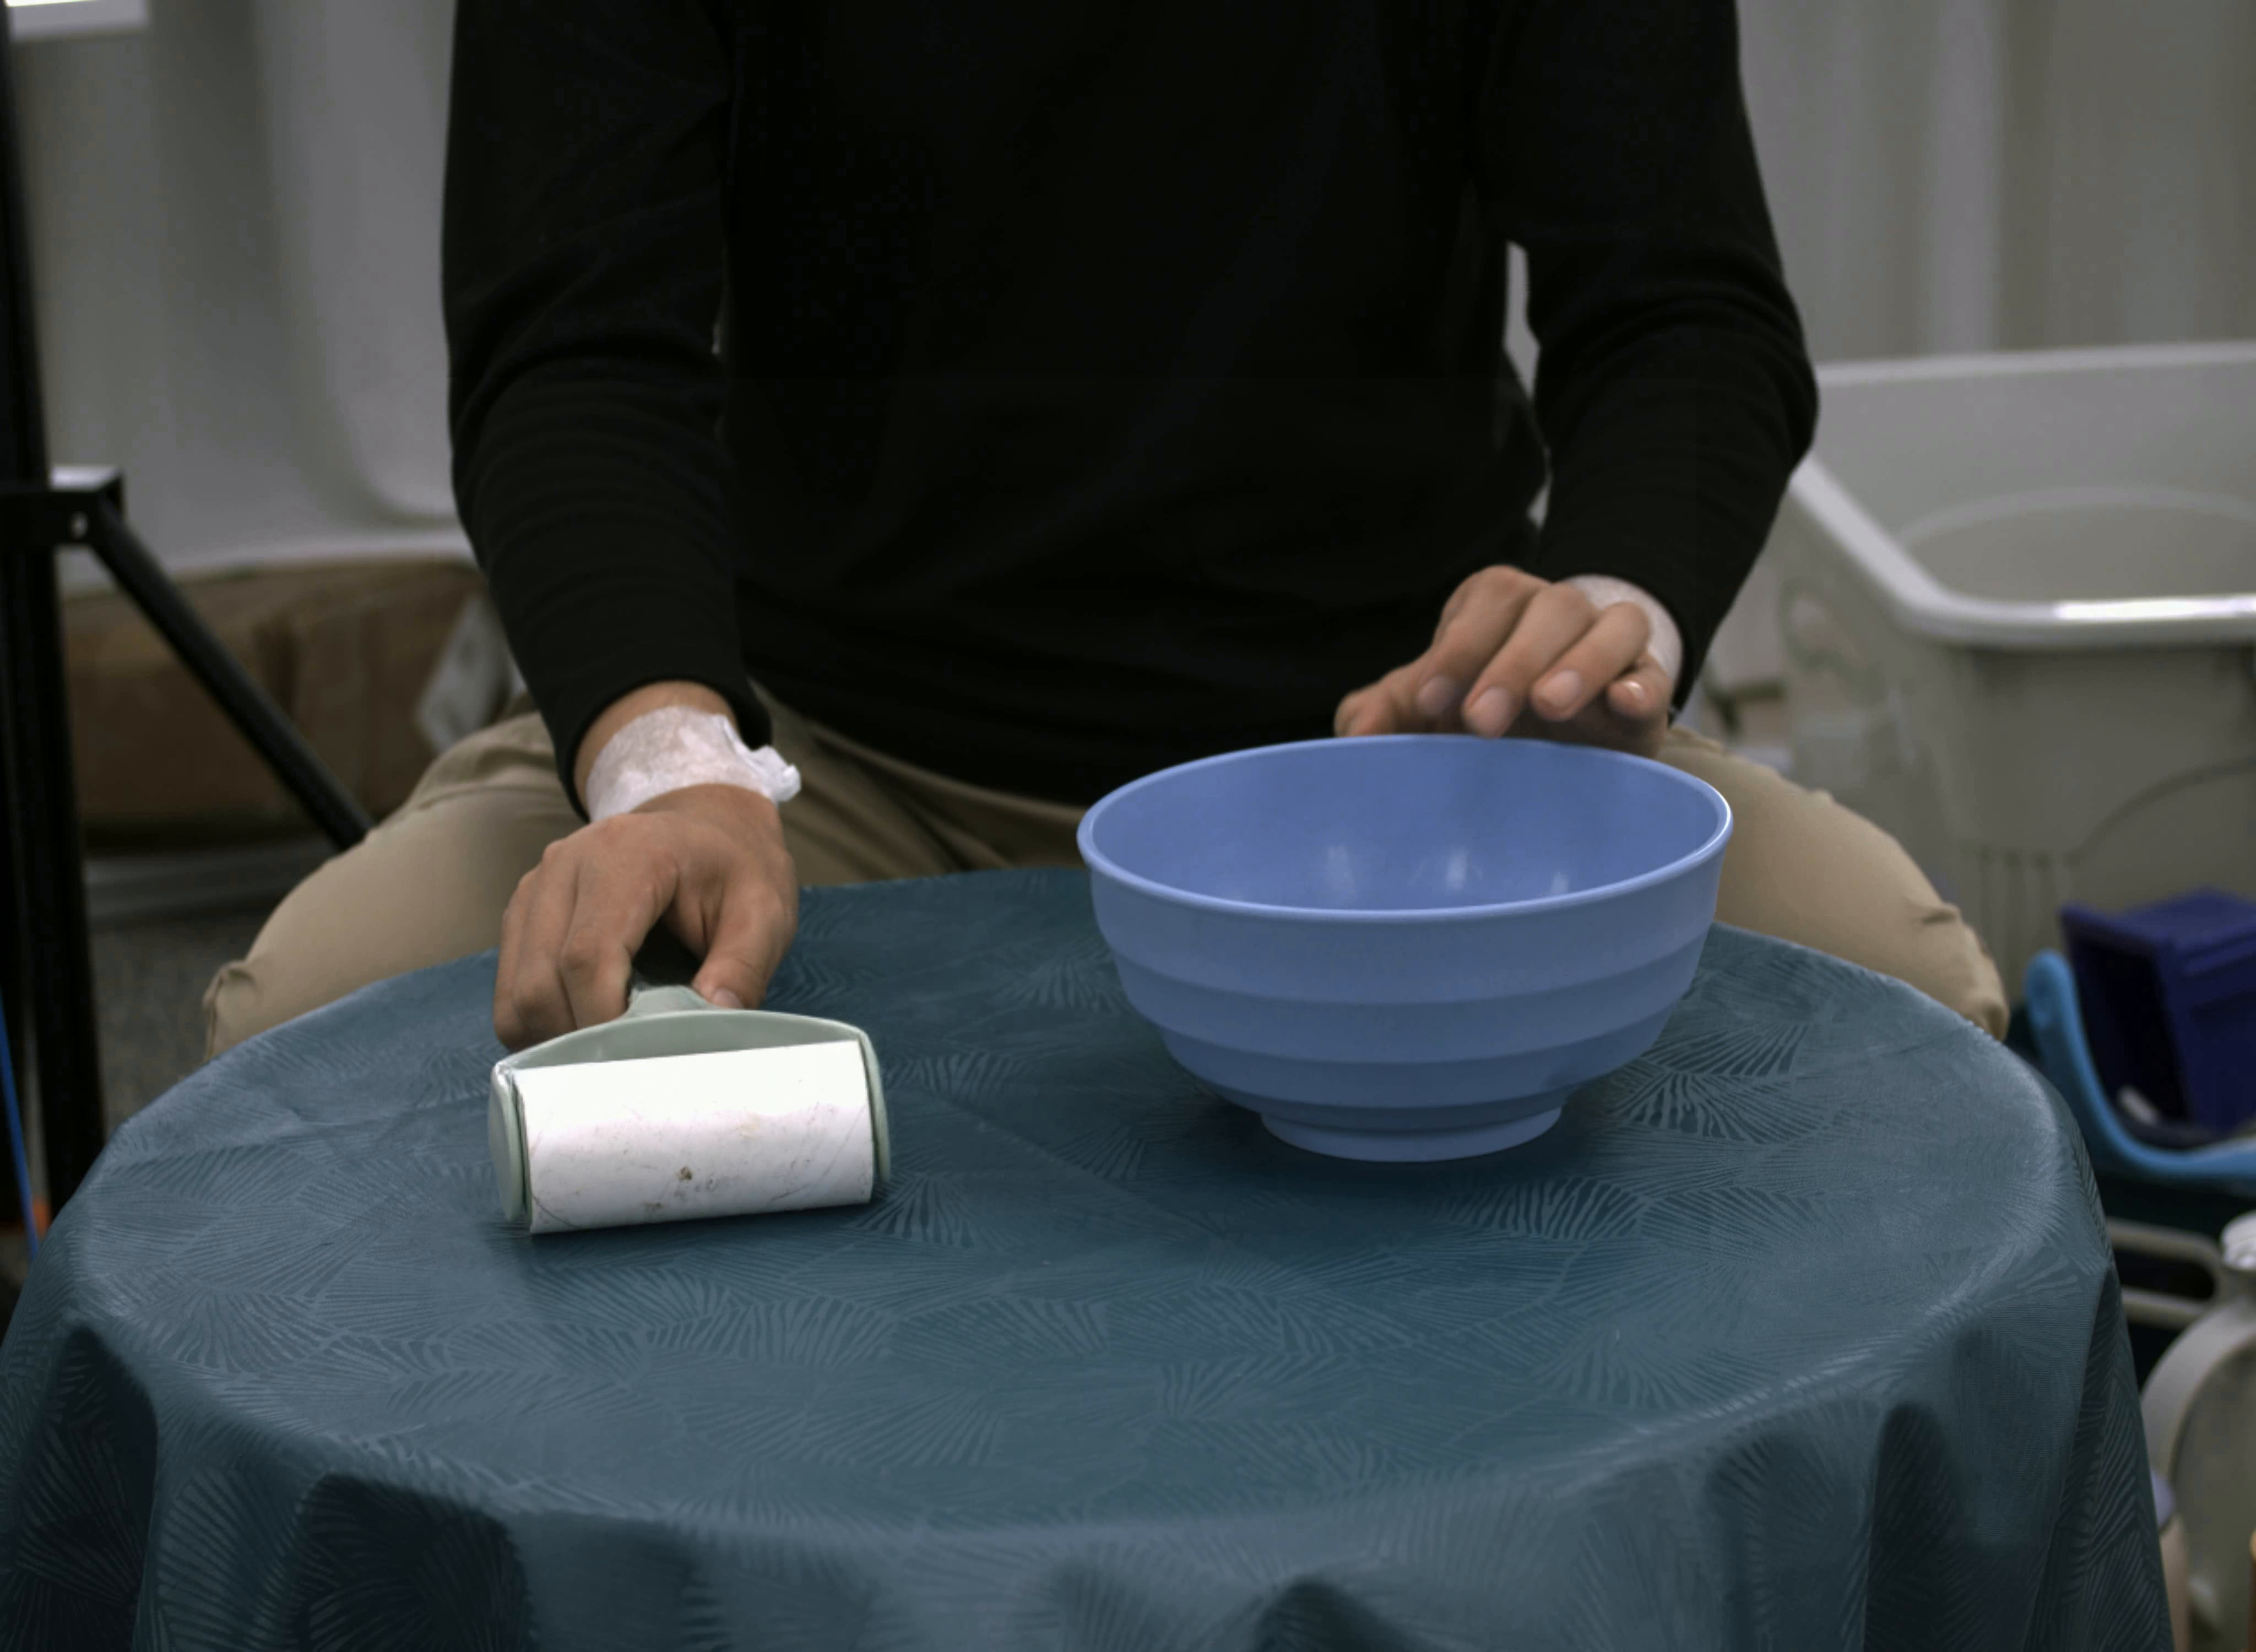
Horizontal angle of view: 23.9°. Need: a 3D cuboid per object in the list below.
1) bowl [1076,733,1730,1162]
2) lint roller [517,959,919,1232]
[{"bbox_3d":[0.084,0.042,1.600,0.195,0.095,0.197,-4,16,0],"label":"bowl"},{"bbox_3d":[-0.132,0.069,1.621,0.115,0.048,0.200,-7,18,-9],"label":"lint roller"}]
